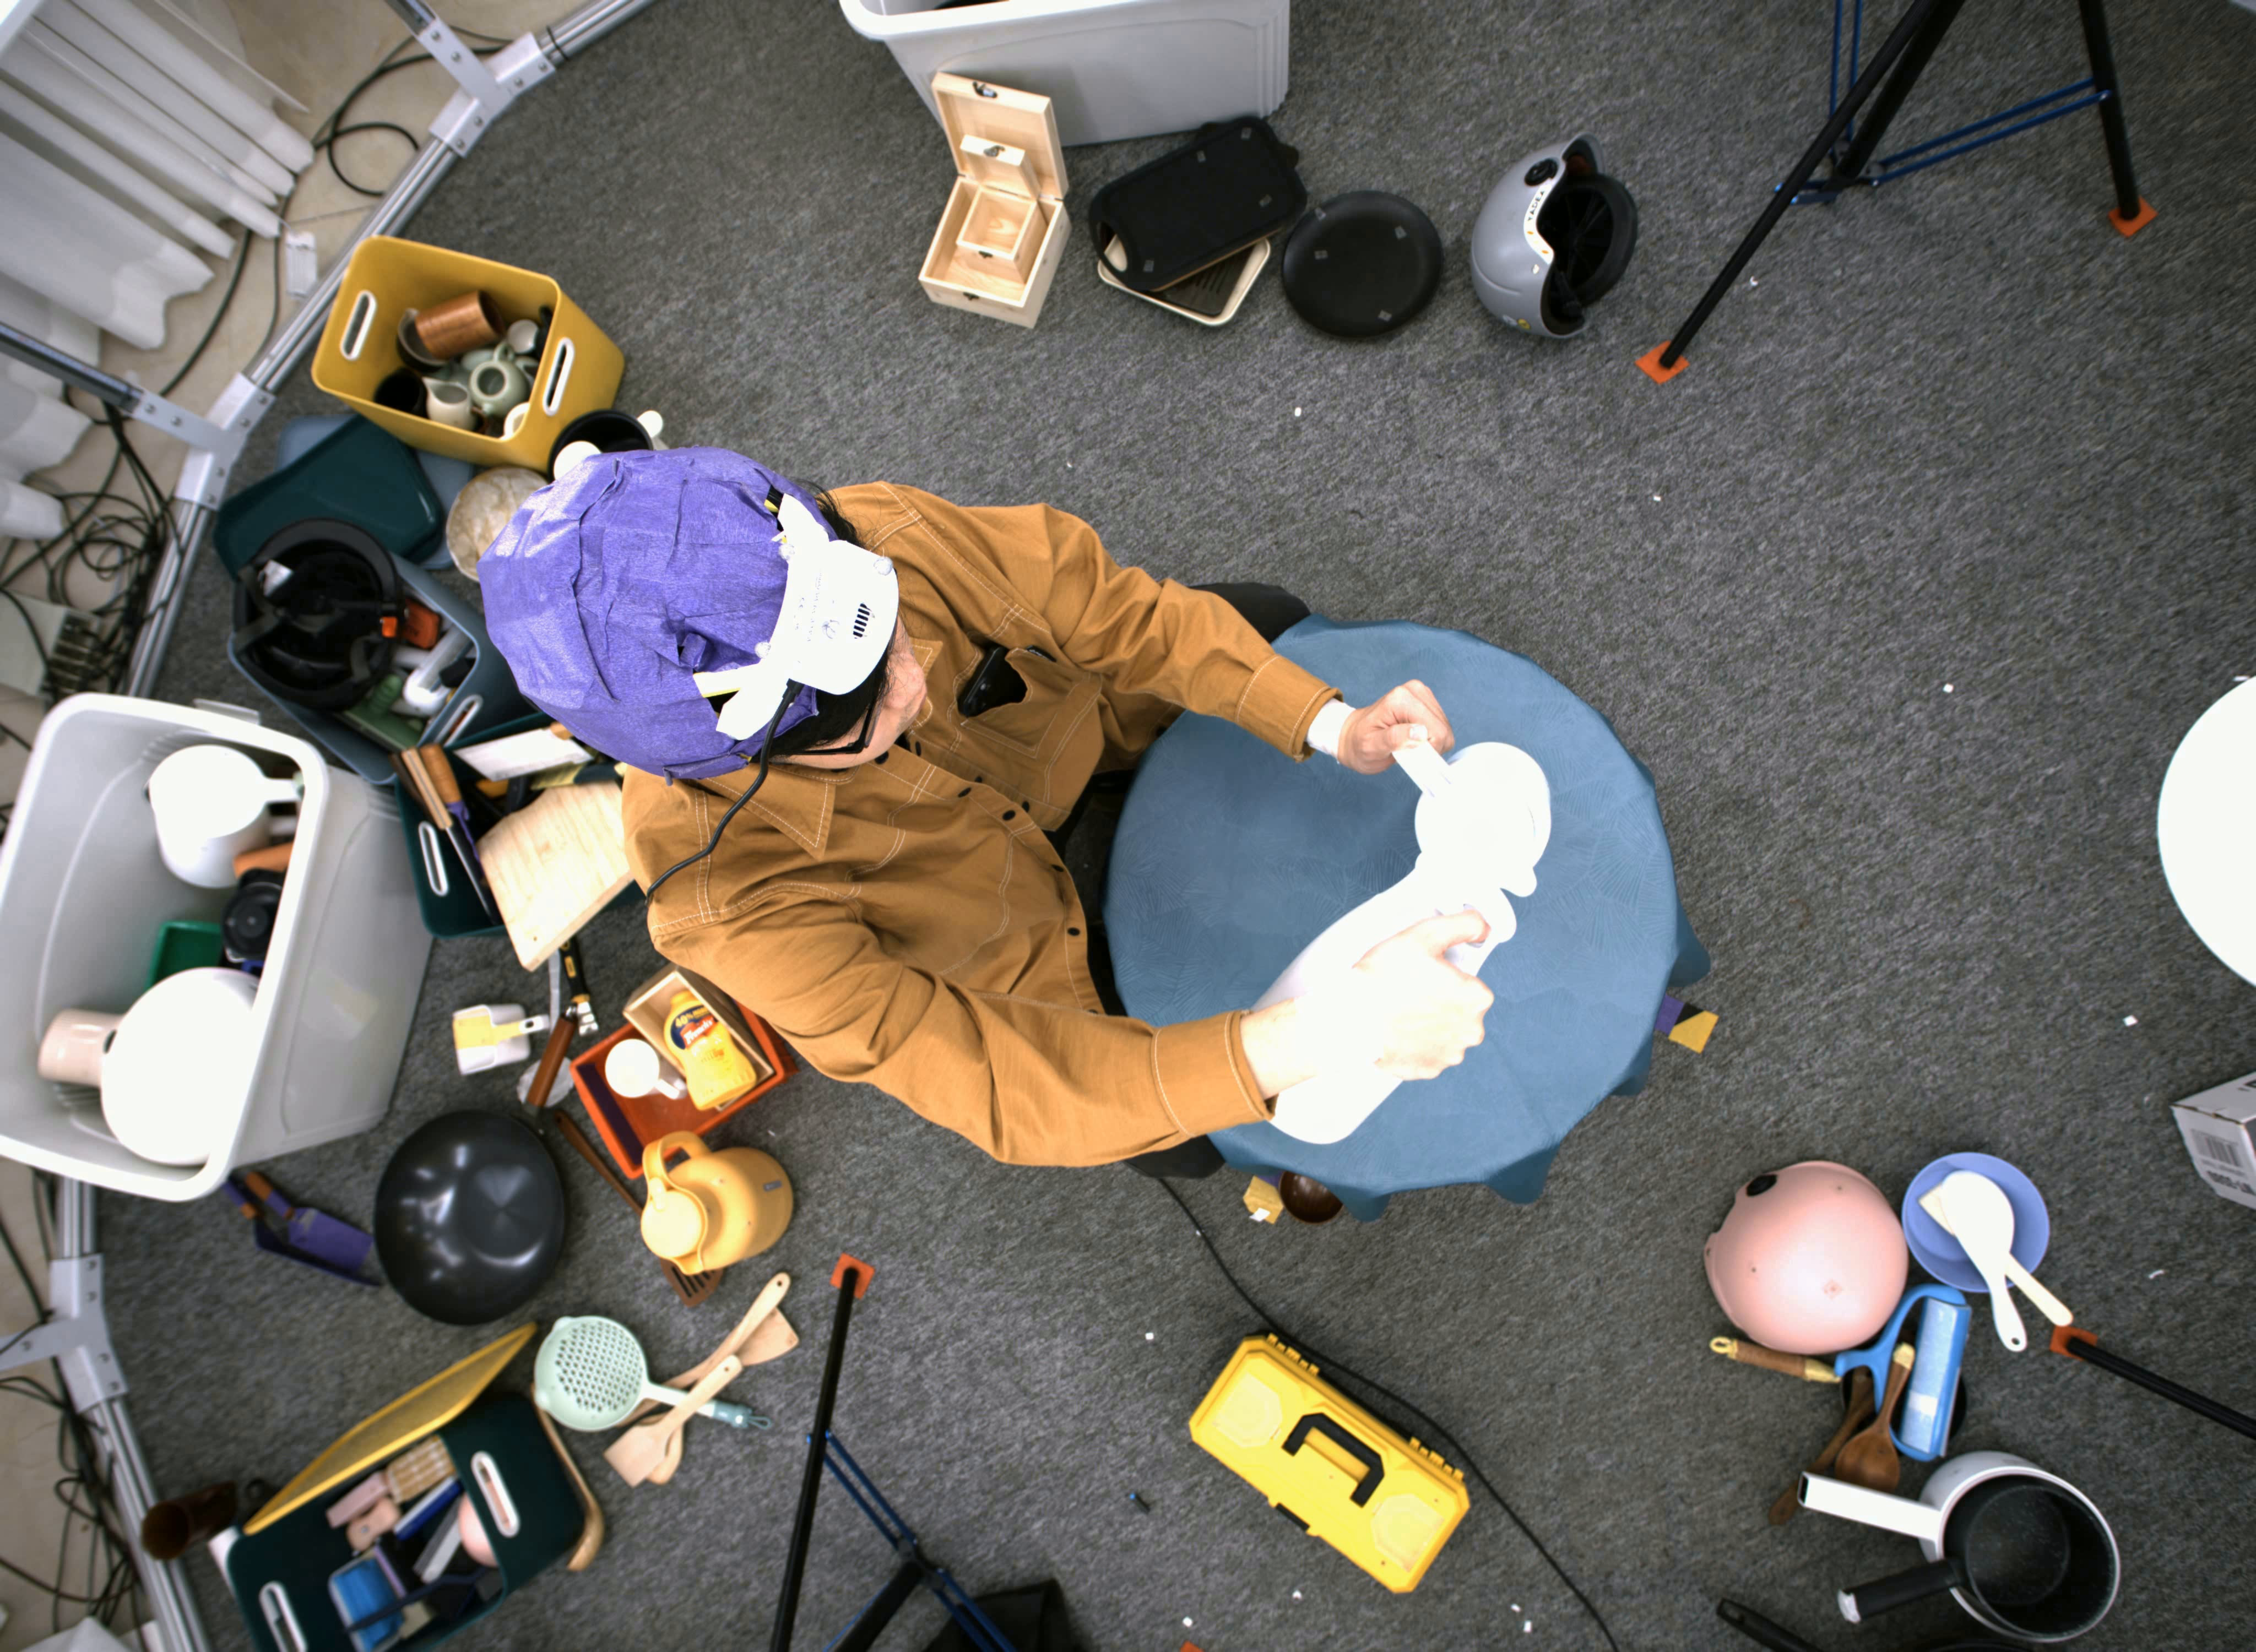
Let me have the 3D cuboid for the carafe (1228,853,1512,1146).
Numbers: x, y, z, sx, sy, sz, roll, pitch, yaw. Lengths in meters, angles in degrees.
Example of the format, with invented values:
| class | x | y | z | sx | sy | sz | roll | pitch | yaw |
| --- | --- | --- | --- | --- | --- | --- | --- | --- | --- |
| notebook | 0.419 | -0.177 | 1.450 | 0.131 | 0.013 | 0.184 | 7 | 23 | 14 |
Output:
| class | x | y | z | sx | sy | sz | roll | pitch | yaw |
| --- | --- | --- | --- | --- | --- | --- | --- | --- | --- |
| carafe | 0.195 | 0.143 | 1.090 | 0.133 | 0.163 | 0.255 | 29 | 127 | -7 |

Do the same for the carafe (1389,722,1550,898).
| class | x | y | z | sx | sy | sz | roll | pitch | yaw |
| --- | --- | --- | --- | --- | --- | --- | --- | --- | --- |
| carafe | 0.315 | -0.024 | 1.266 | 0.126 | 0.265 | 0.172 | -42 | 84 | 21 |
